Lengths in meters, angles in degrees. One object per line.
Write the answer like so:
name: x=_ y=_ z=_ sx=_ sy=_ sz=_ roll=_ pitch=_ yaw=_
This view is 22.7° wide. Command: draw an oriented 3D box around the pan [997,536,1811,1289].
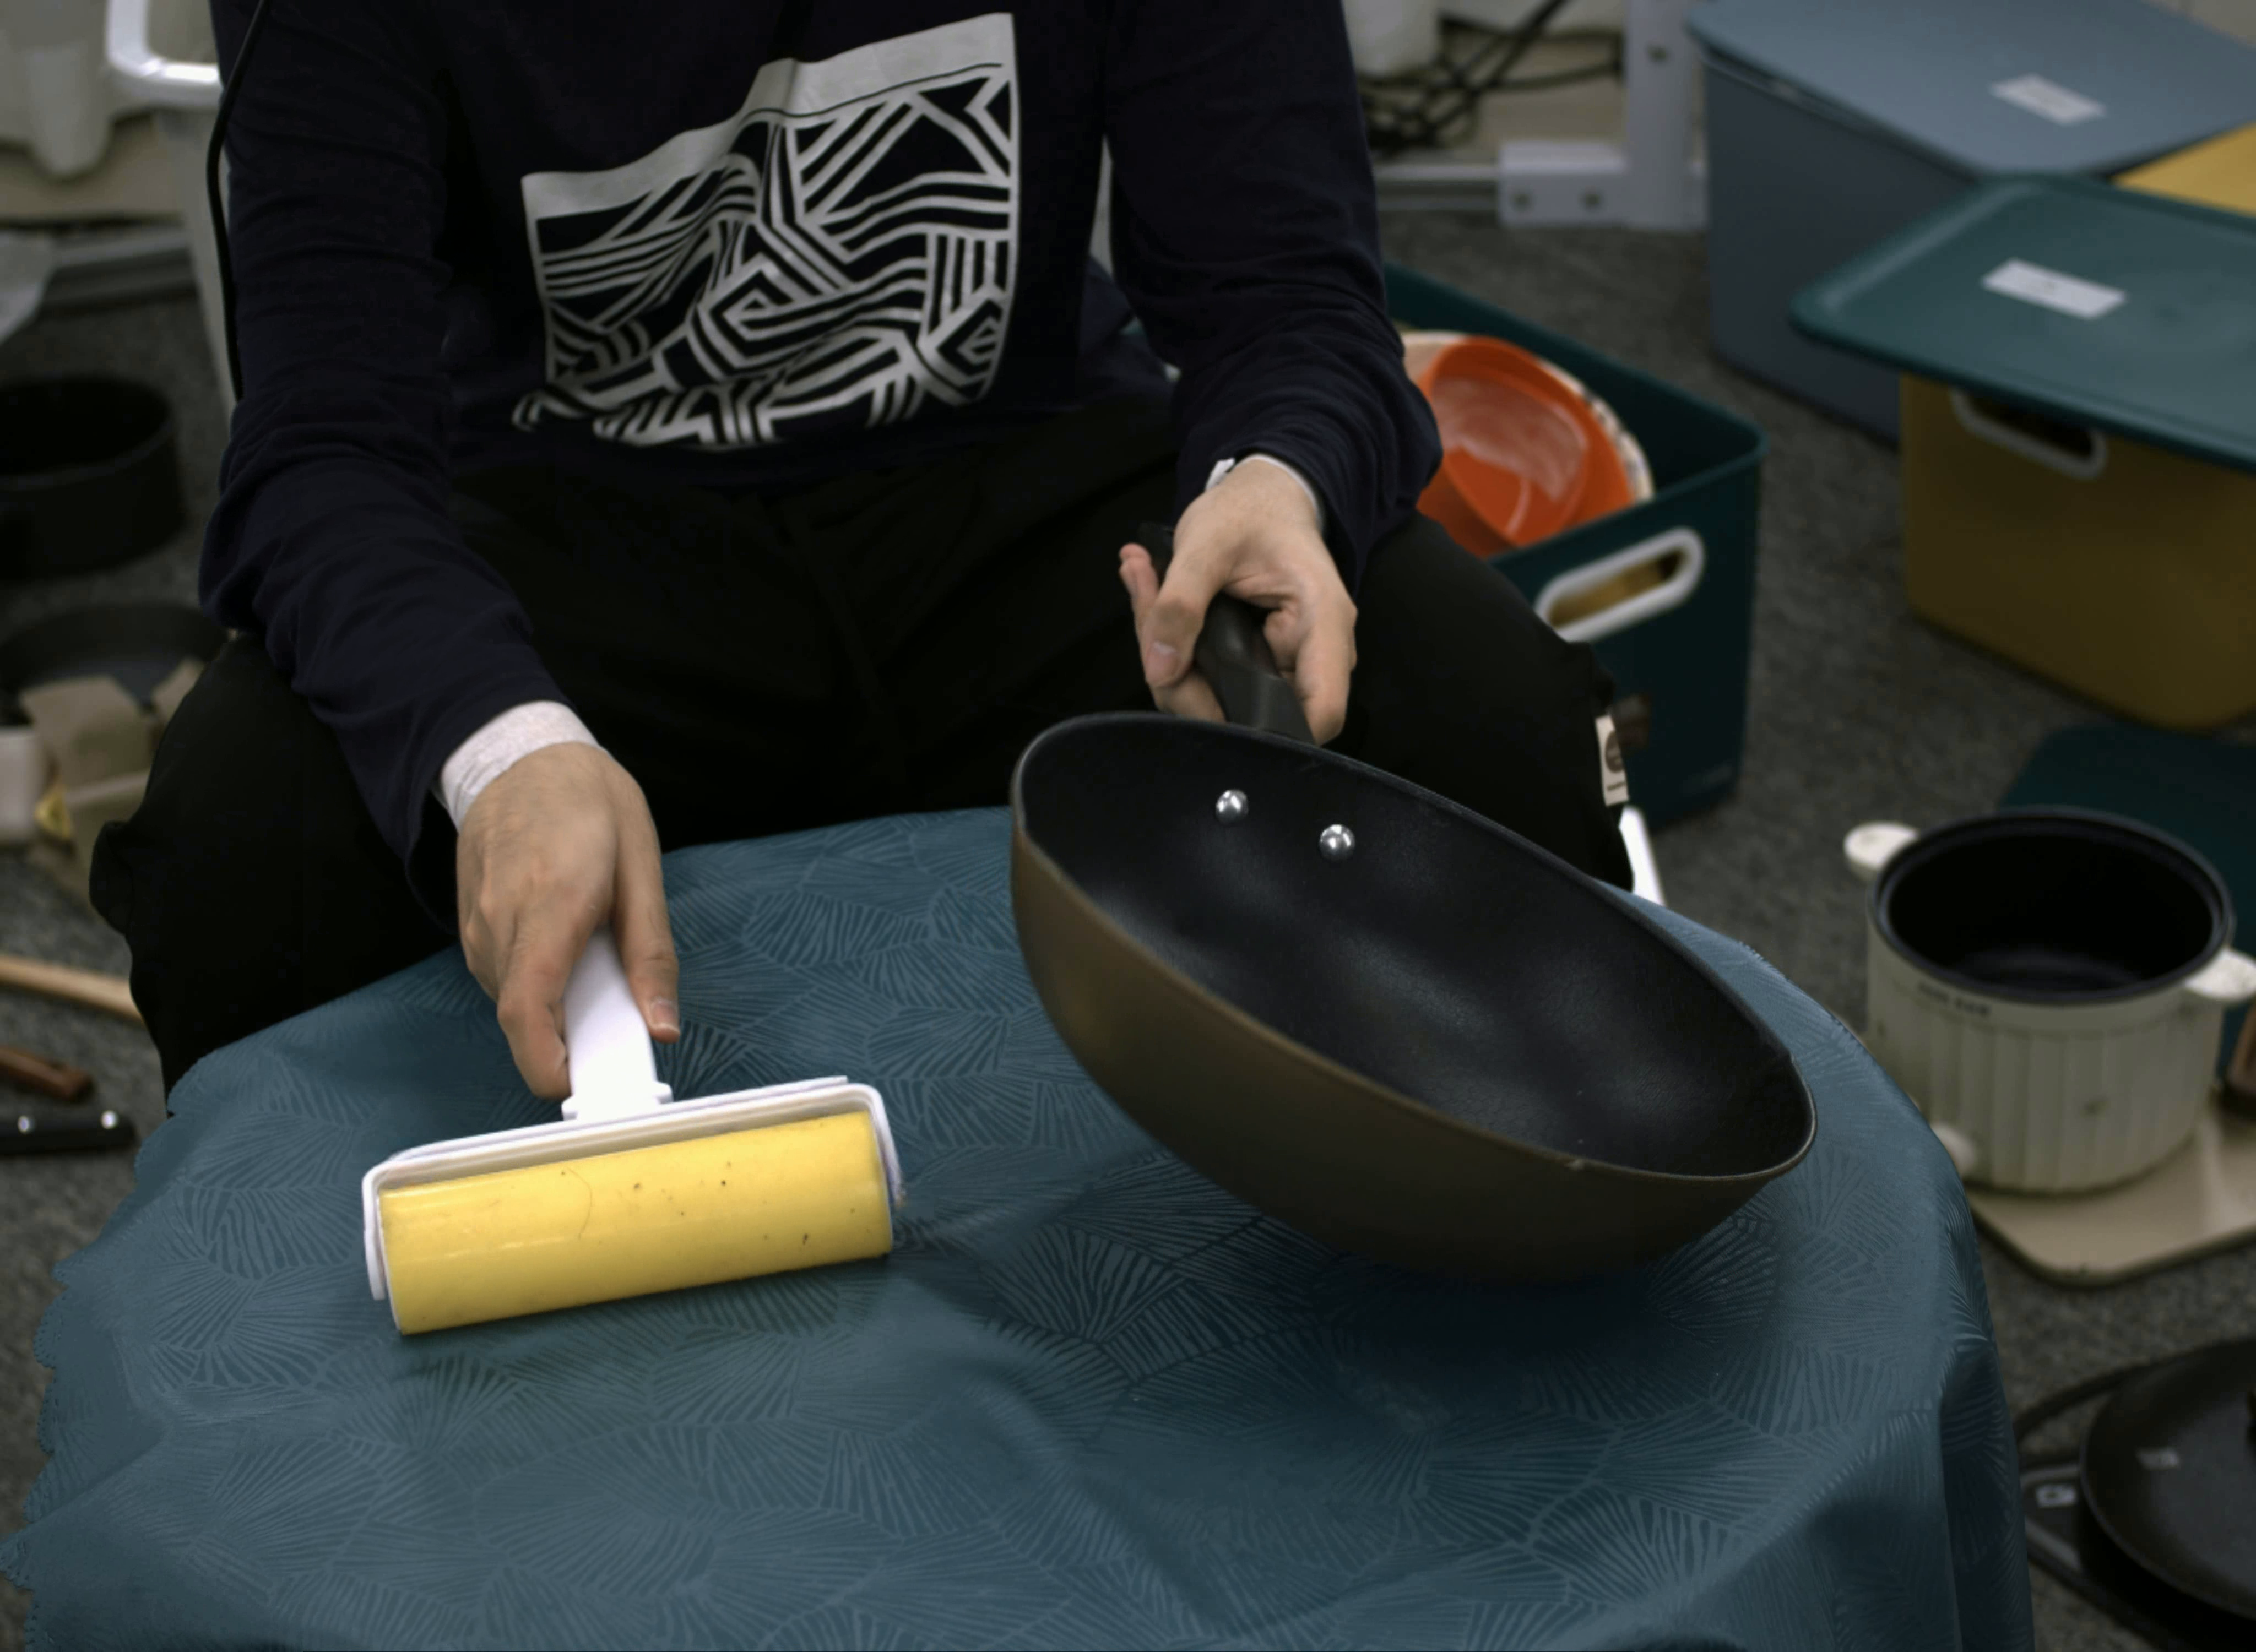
pan: x=0.053 y=0.027 z=1.884 sx=0.287 sy=0.086 sz=0.468 roll=16 pitch=21 yaw=-22

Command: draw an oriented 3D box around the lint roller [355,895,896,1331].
lint roller: x=-0.174 y=0.079 z=1.856 sx=0.174 sy=0.050 sz=0.195 roll=-9 pitch=45 yaw=-7
